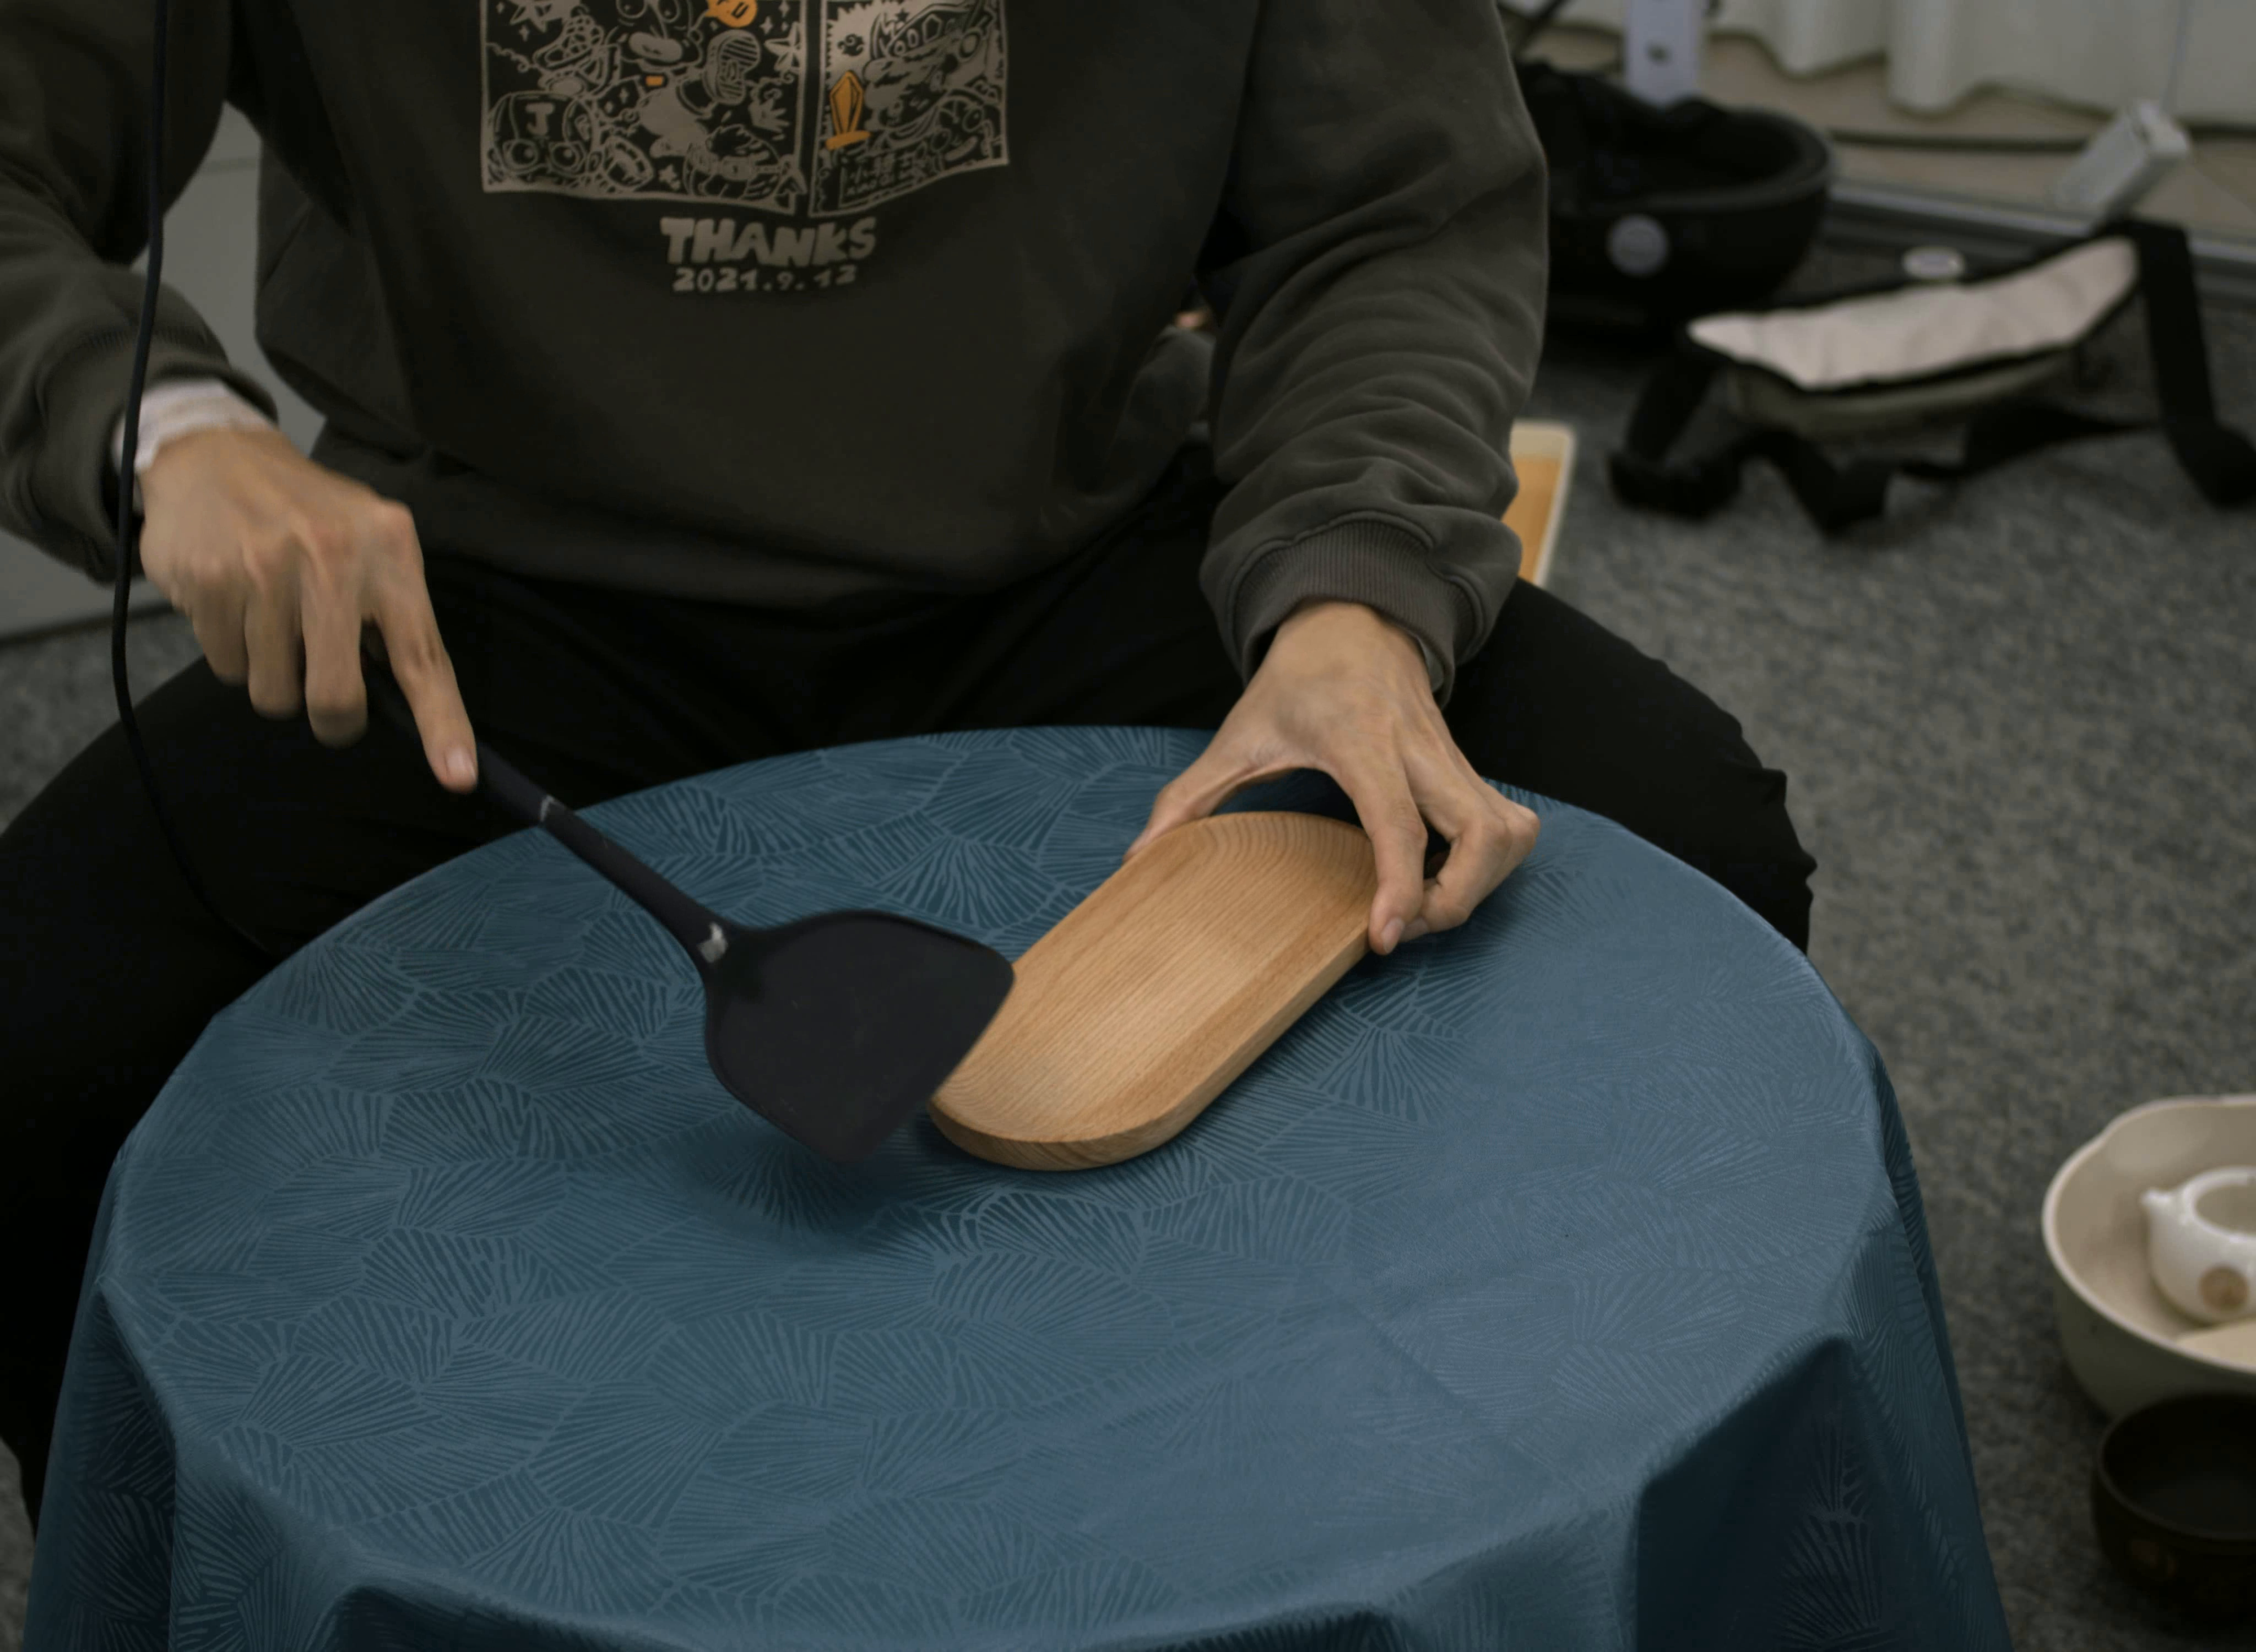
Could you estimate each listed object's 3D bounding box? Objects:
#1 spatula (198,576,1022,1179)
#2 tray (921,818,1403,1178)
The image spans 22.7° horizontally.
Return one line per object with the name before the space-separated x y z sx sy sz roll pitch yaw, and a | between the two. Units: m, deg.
spatula | -0.188 0.003 1.896 0.326 0.040 0.101 35 62 12
tray | 0.014 0.058 1.957 0.101 0.020 0.235 13 35 28
